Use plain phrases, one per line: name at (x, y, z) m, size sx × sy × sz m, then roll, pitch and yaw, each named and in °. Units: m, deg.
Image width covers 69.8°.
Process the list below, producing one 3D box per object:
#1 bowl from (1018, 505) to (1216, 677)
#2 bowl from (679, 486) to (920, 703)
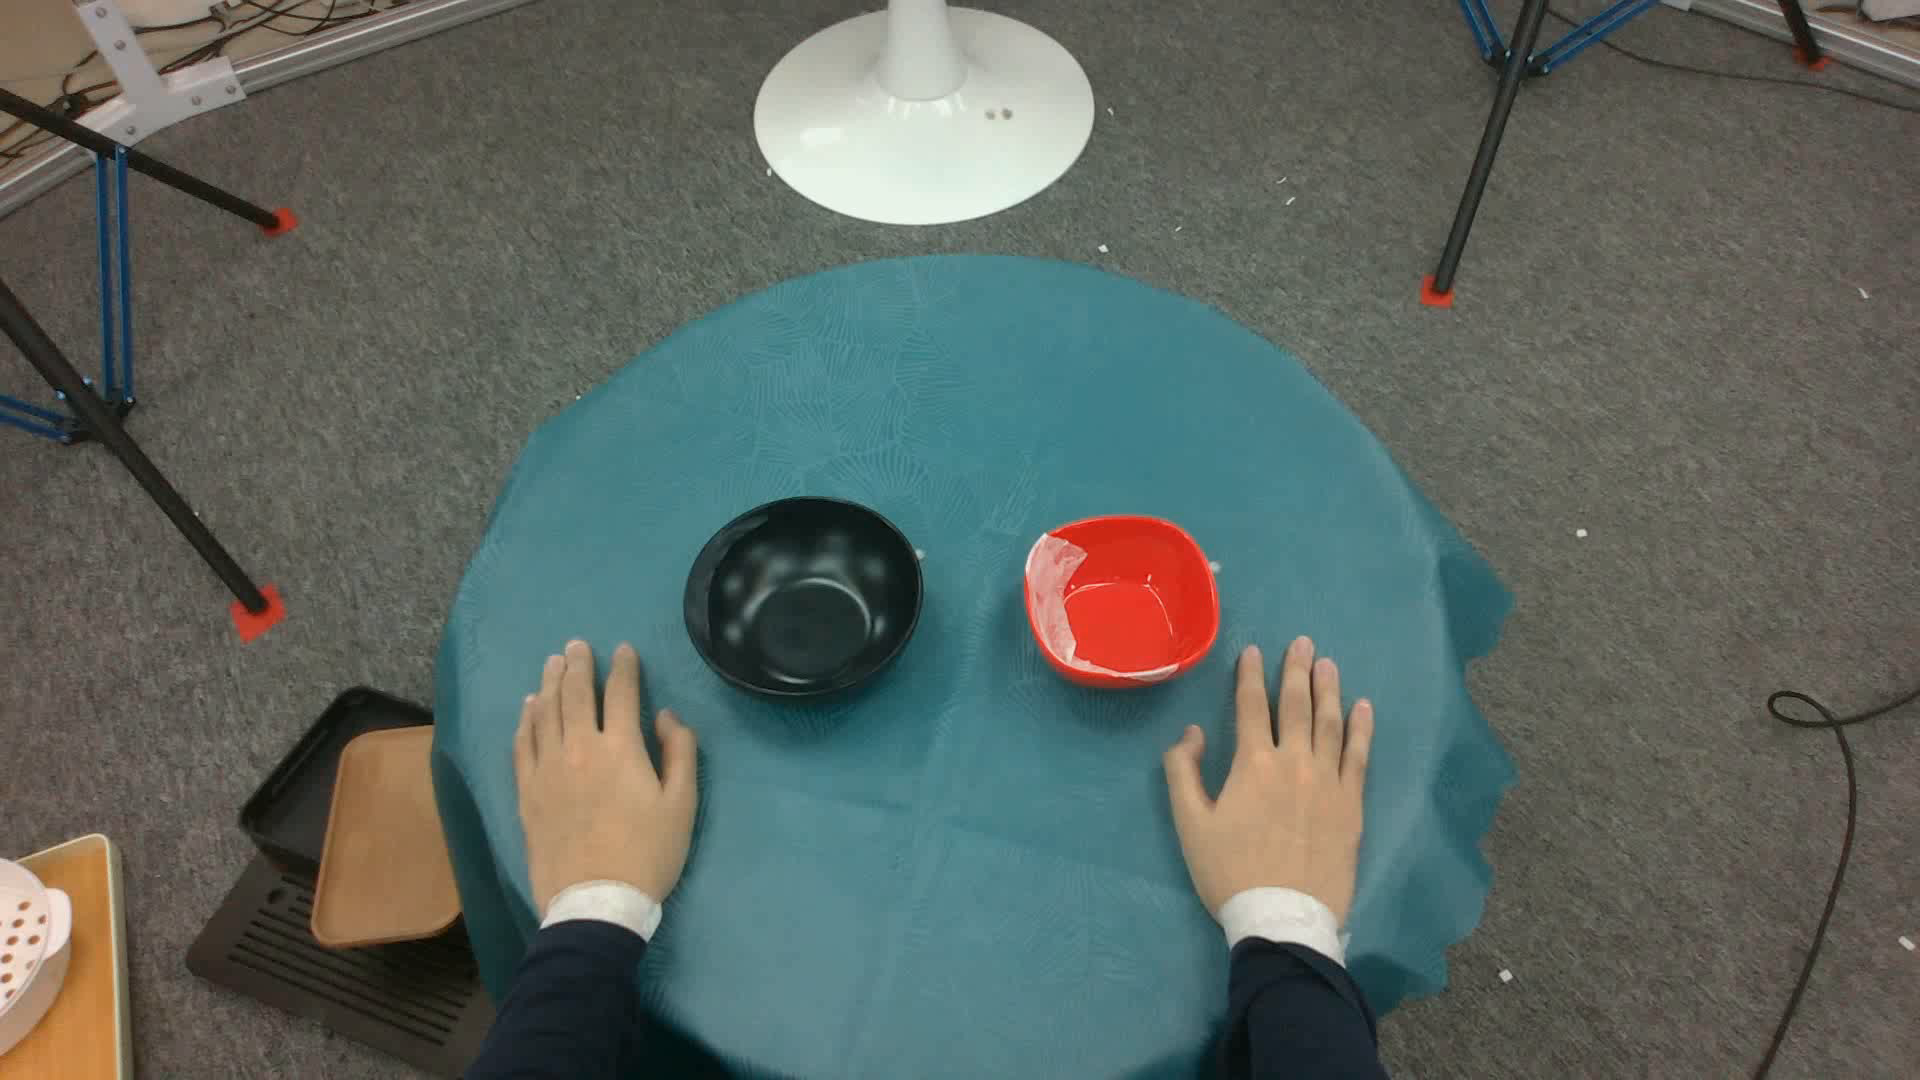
bowl at (0.089, 0.038, 0.801) m, size 0.119 × 0.051 × 0.119 m, roll 0°, pitch 52°, yaw 0°
bowl at (-0.092, 0.038, 0.810) m, size 0.140 × 0.049 × 0.140 m, roll 0°, pitch 59°, yaw 1°
